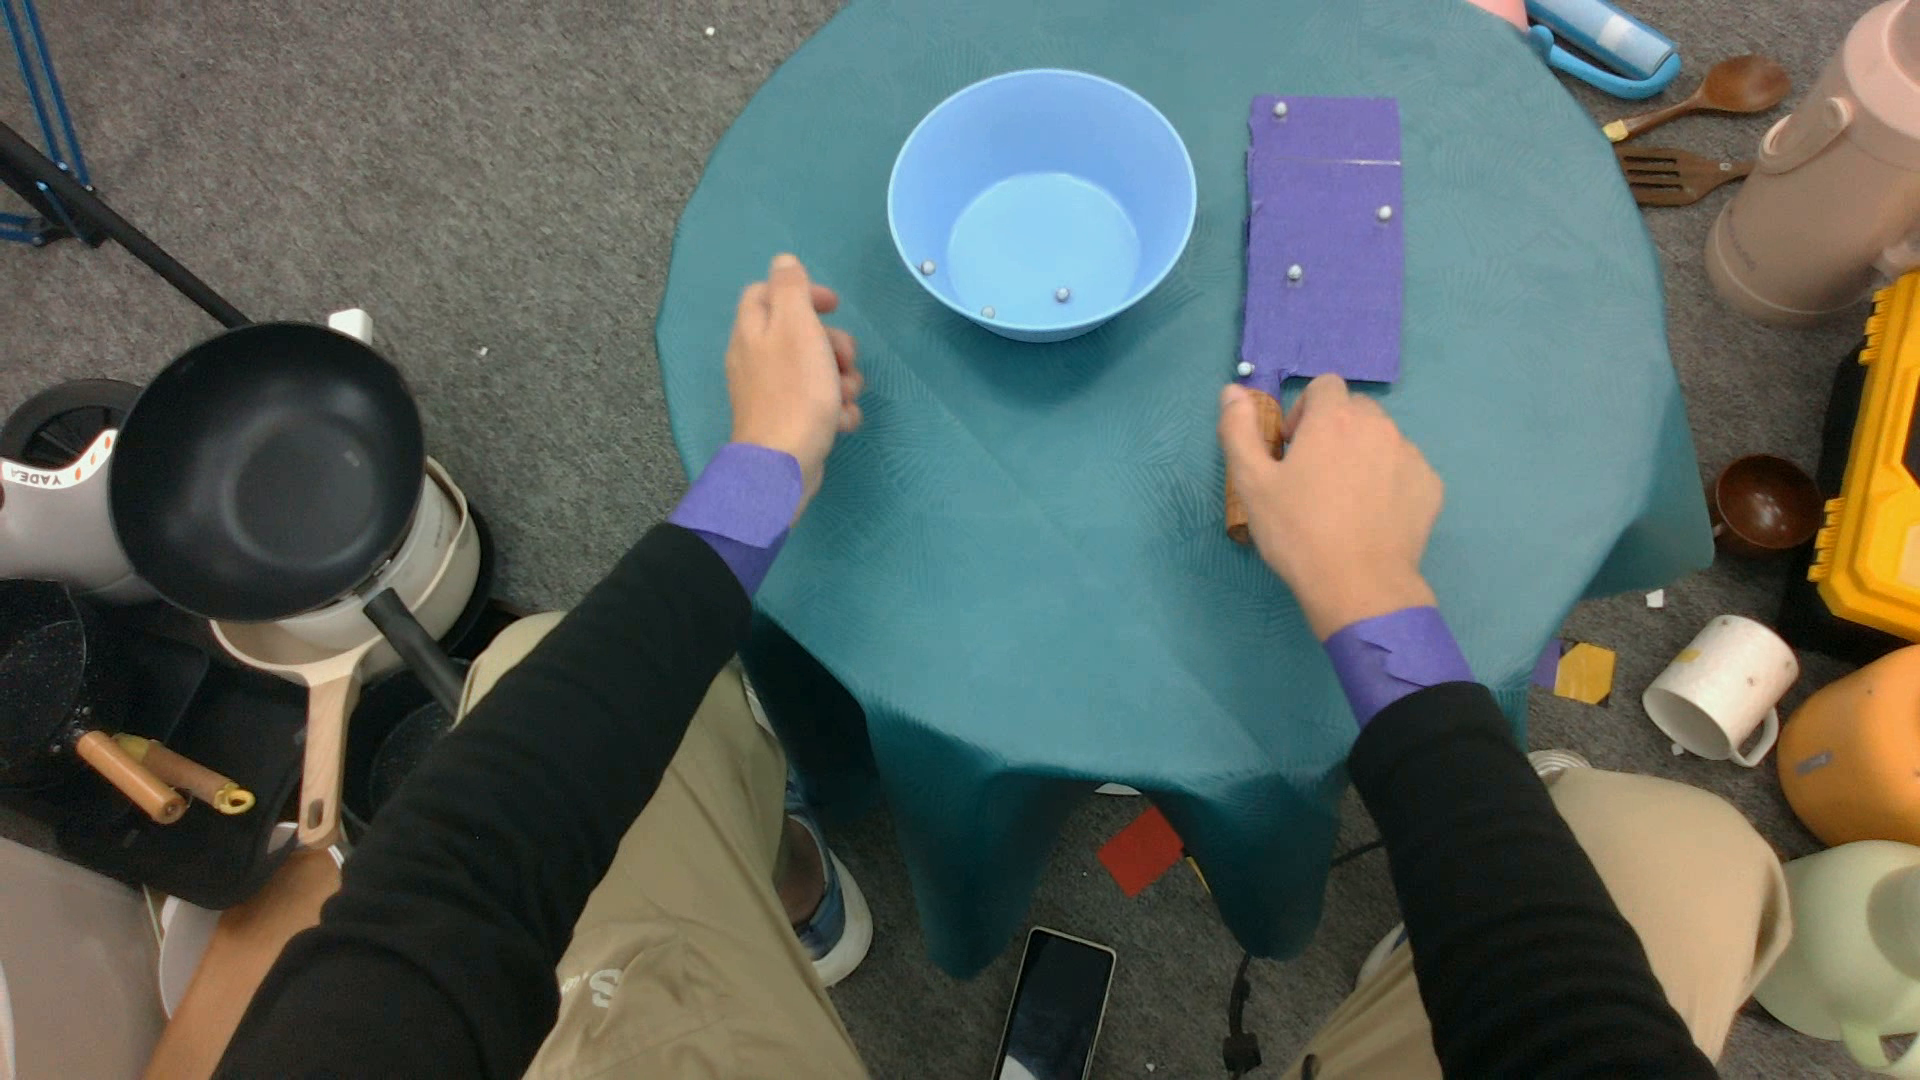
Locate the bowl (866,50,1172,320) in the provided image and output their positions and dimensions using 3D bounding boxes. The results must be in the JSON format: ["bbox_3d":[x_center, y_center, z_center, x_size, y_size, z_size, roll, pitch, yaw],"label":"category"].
[{"bbox_3d":[0.036,-0.197,0.815,0.176,0.070,0.176,-2,69,5],"label":"bowl"}]

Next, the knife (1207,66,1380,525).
[{"bbox_3d":[0.196,-0.156,0.813,0.104,0.032,0.316,3,68,5],"label":"knife"}]
